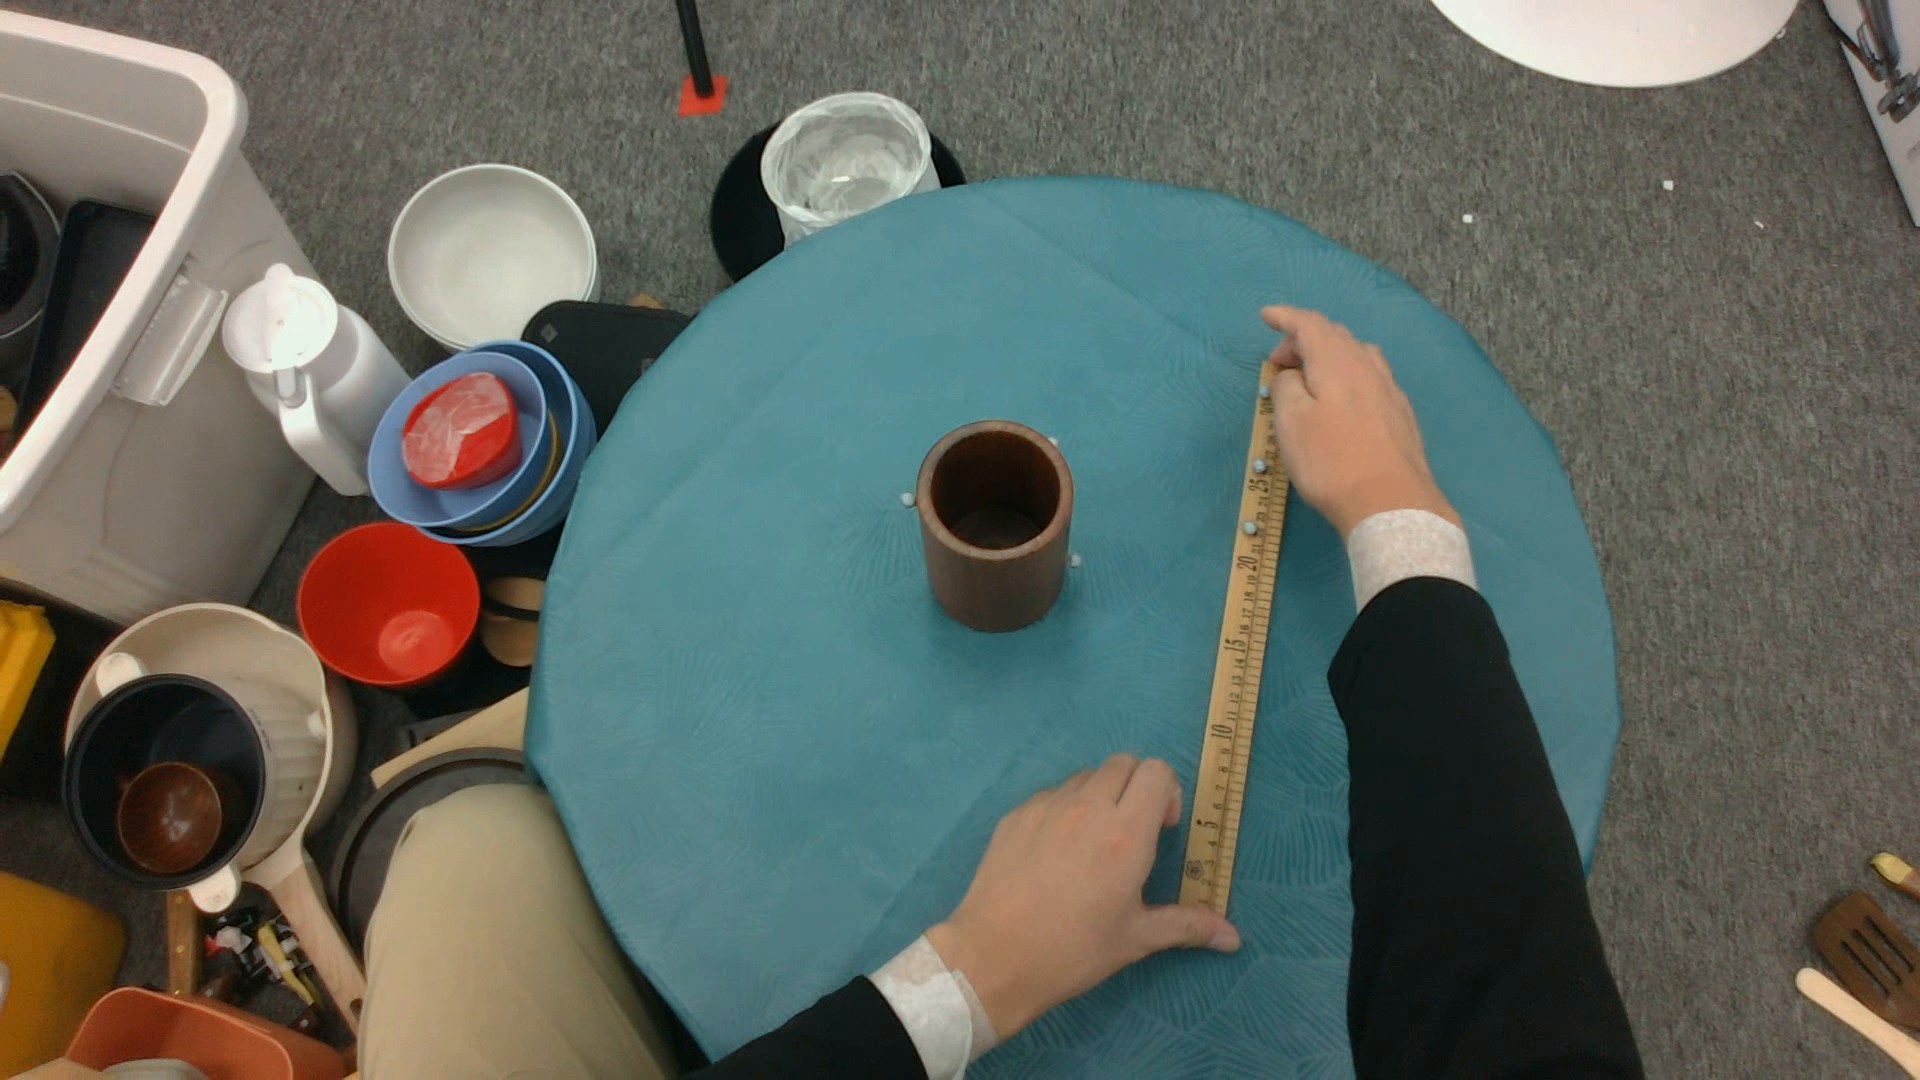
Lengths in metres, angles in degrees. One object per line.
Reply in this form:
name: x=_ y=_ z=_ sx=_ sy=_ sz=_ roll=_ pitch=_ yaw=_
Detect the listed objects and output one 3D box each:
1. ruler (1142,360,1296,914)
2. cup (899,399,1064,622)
ruler: x=0.148 y=0.039 z=0.763 sx=0.027 sy=0.022 sz=0.333 roll=11 pitch=67 yaw=14
cup: x=0.012 y=-0.013 z=0.734 sx=0.088 sy=0.118 sz=0.088 roll=-1 pitch=68 yaw=1
